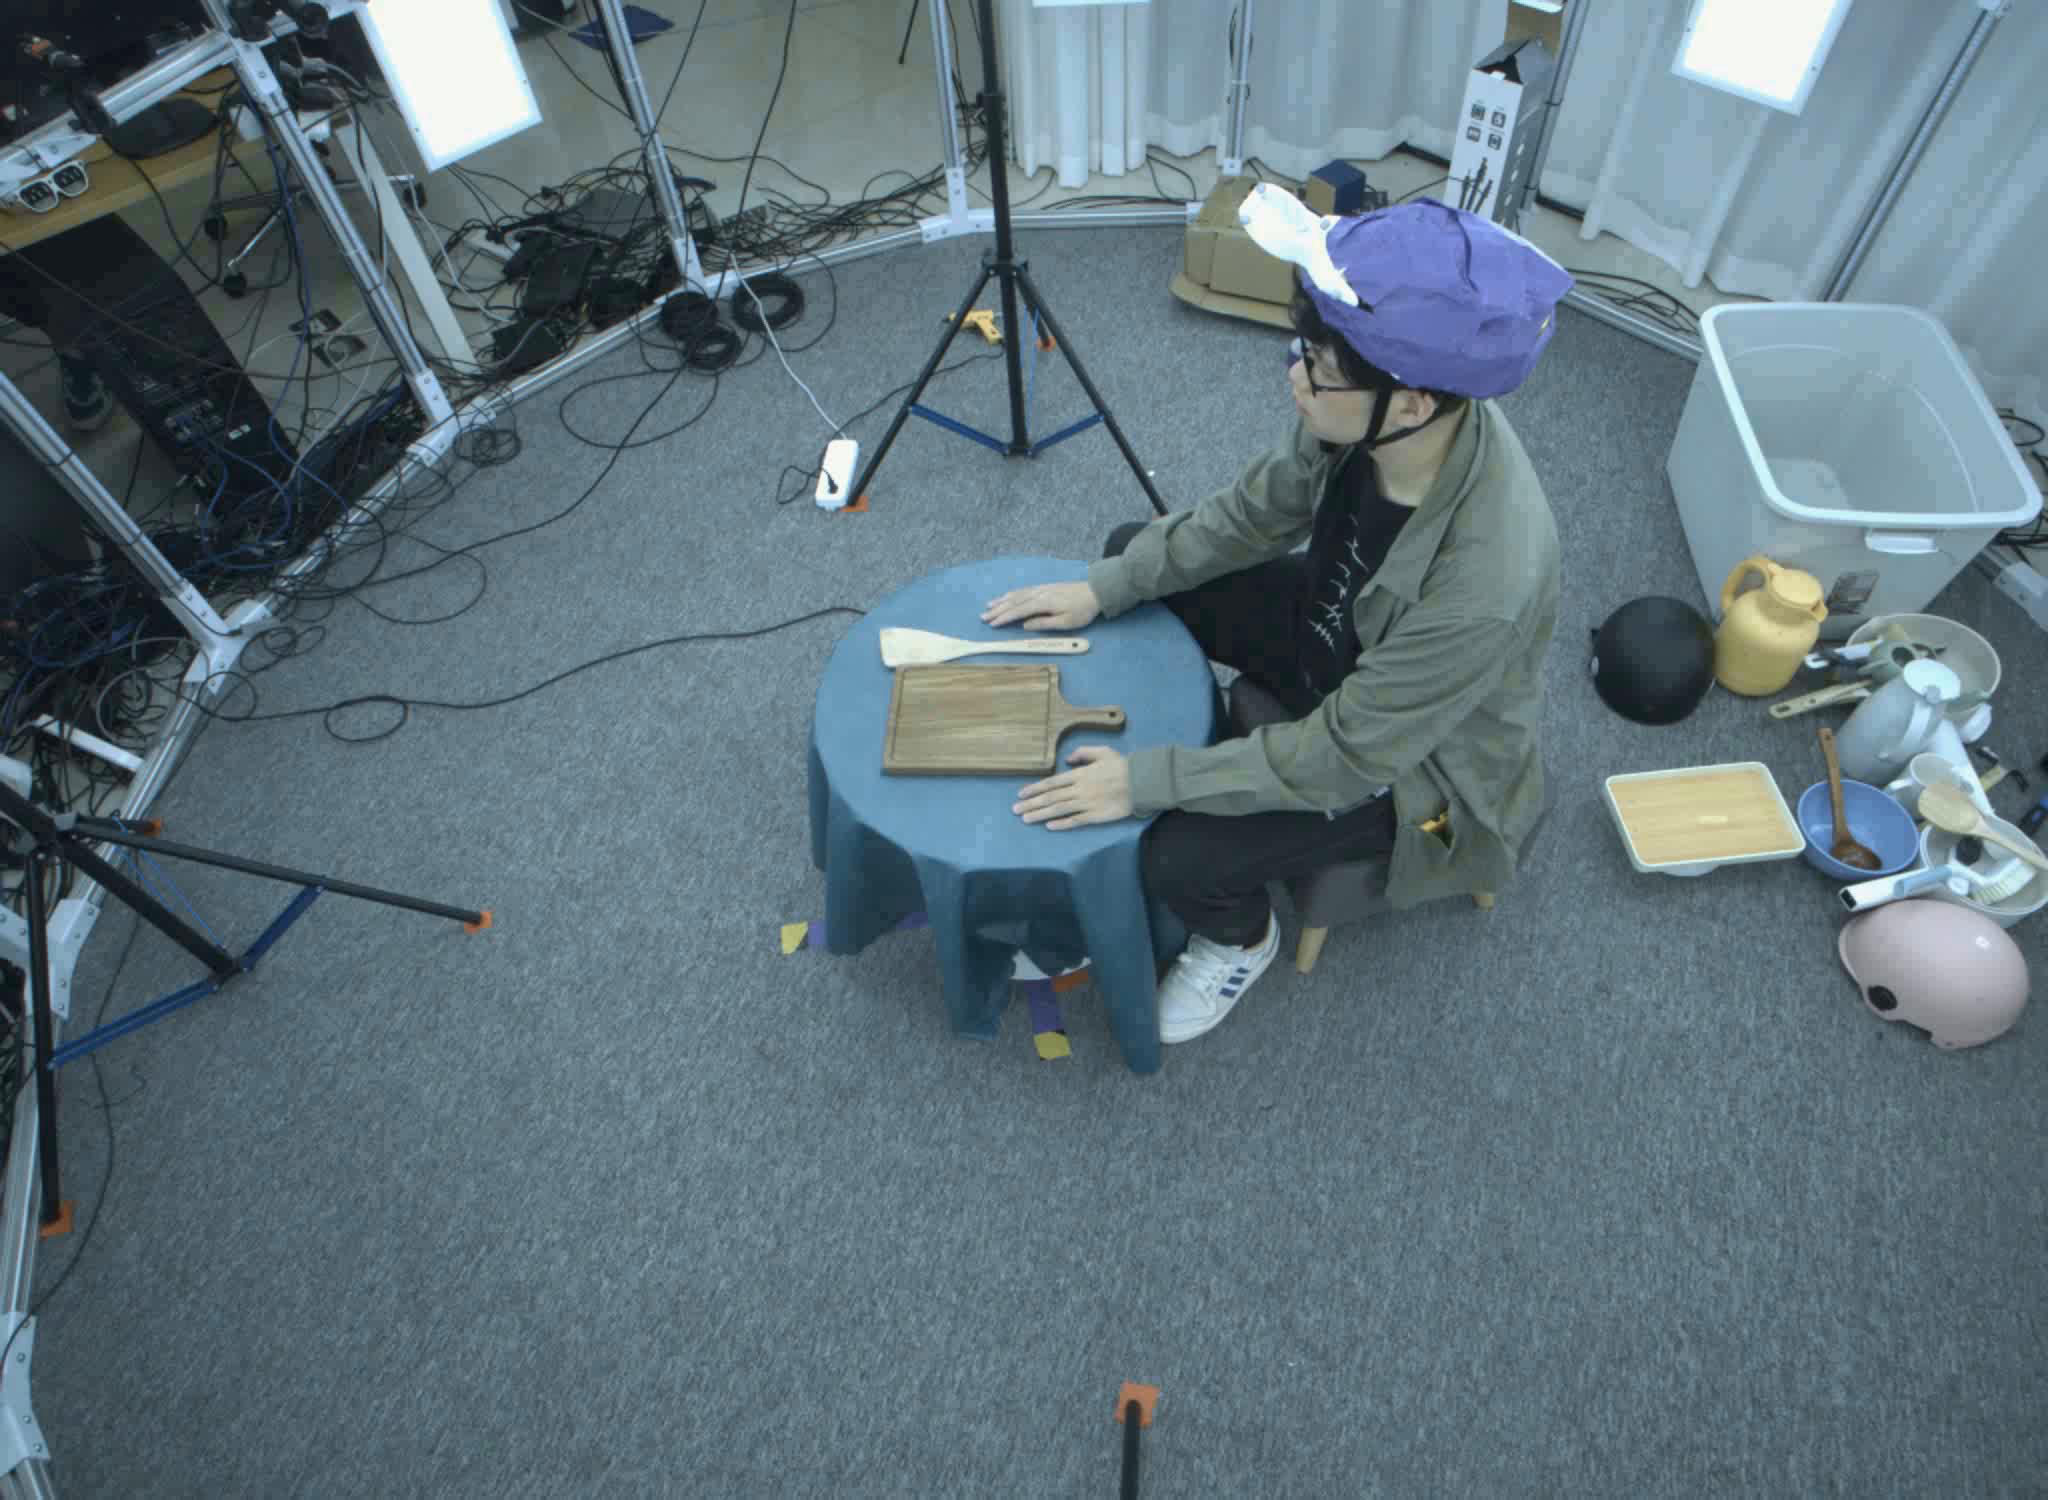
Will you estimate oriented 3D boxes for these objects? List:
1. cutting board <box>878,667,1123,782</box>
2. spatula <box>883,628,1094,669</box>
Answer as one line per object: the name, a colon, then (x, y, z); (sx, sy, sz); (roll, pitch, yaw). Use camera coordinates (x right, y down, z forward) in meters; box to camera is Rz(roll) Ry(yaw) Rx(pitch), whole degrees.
cutting board: (-0.031, -0.039, 1.808); (0.351, 0.023, 0.199); (2, 55, 3)
spatula: (-0.056, -0.161, 1.897); (0.327, 0.017, 0.079); (-2, 55, 1)
